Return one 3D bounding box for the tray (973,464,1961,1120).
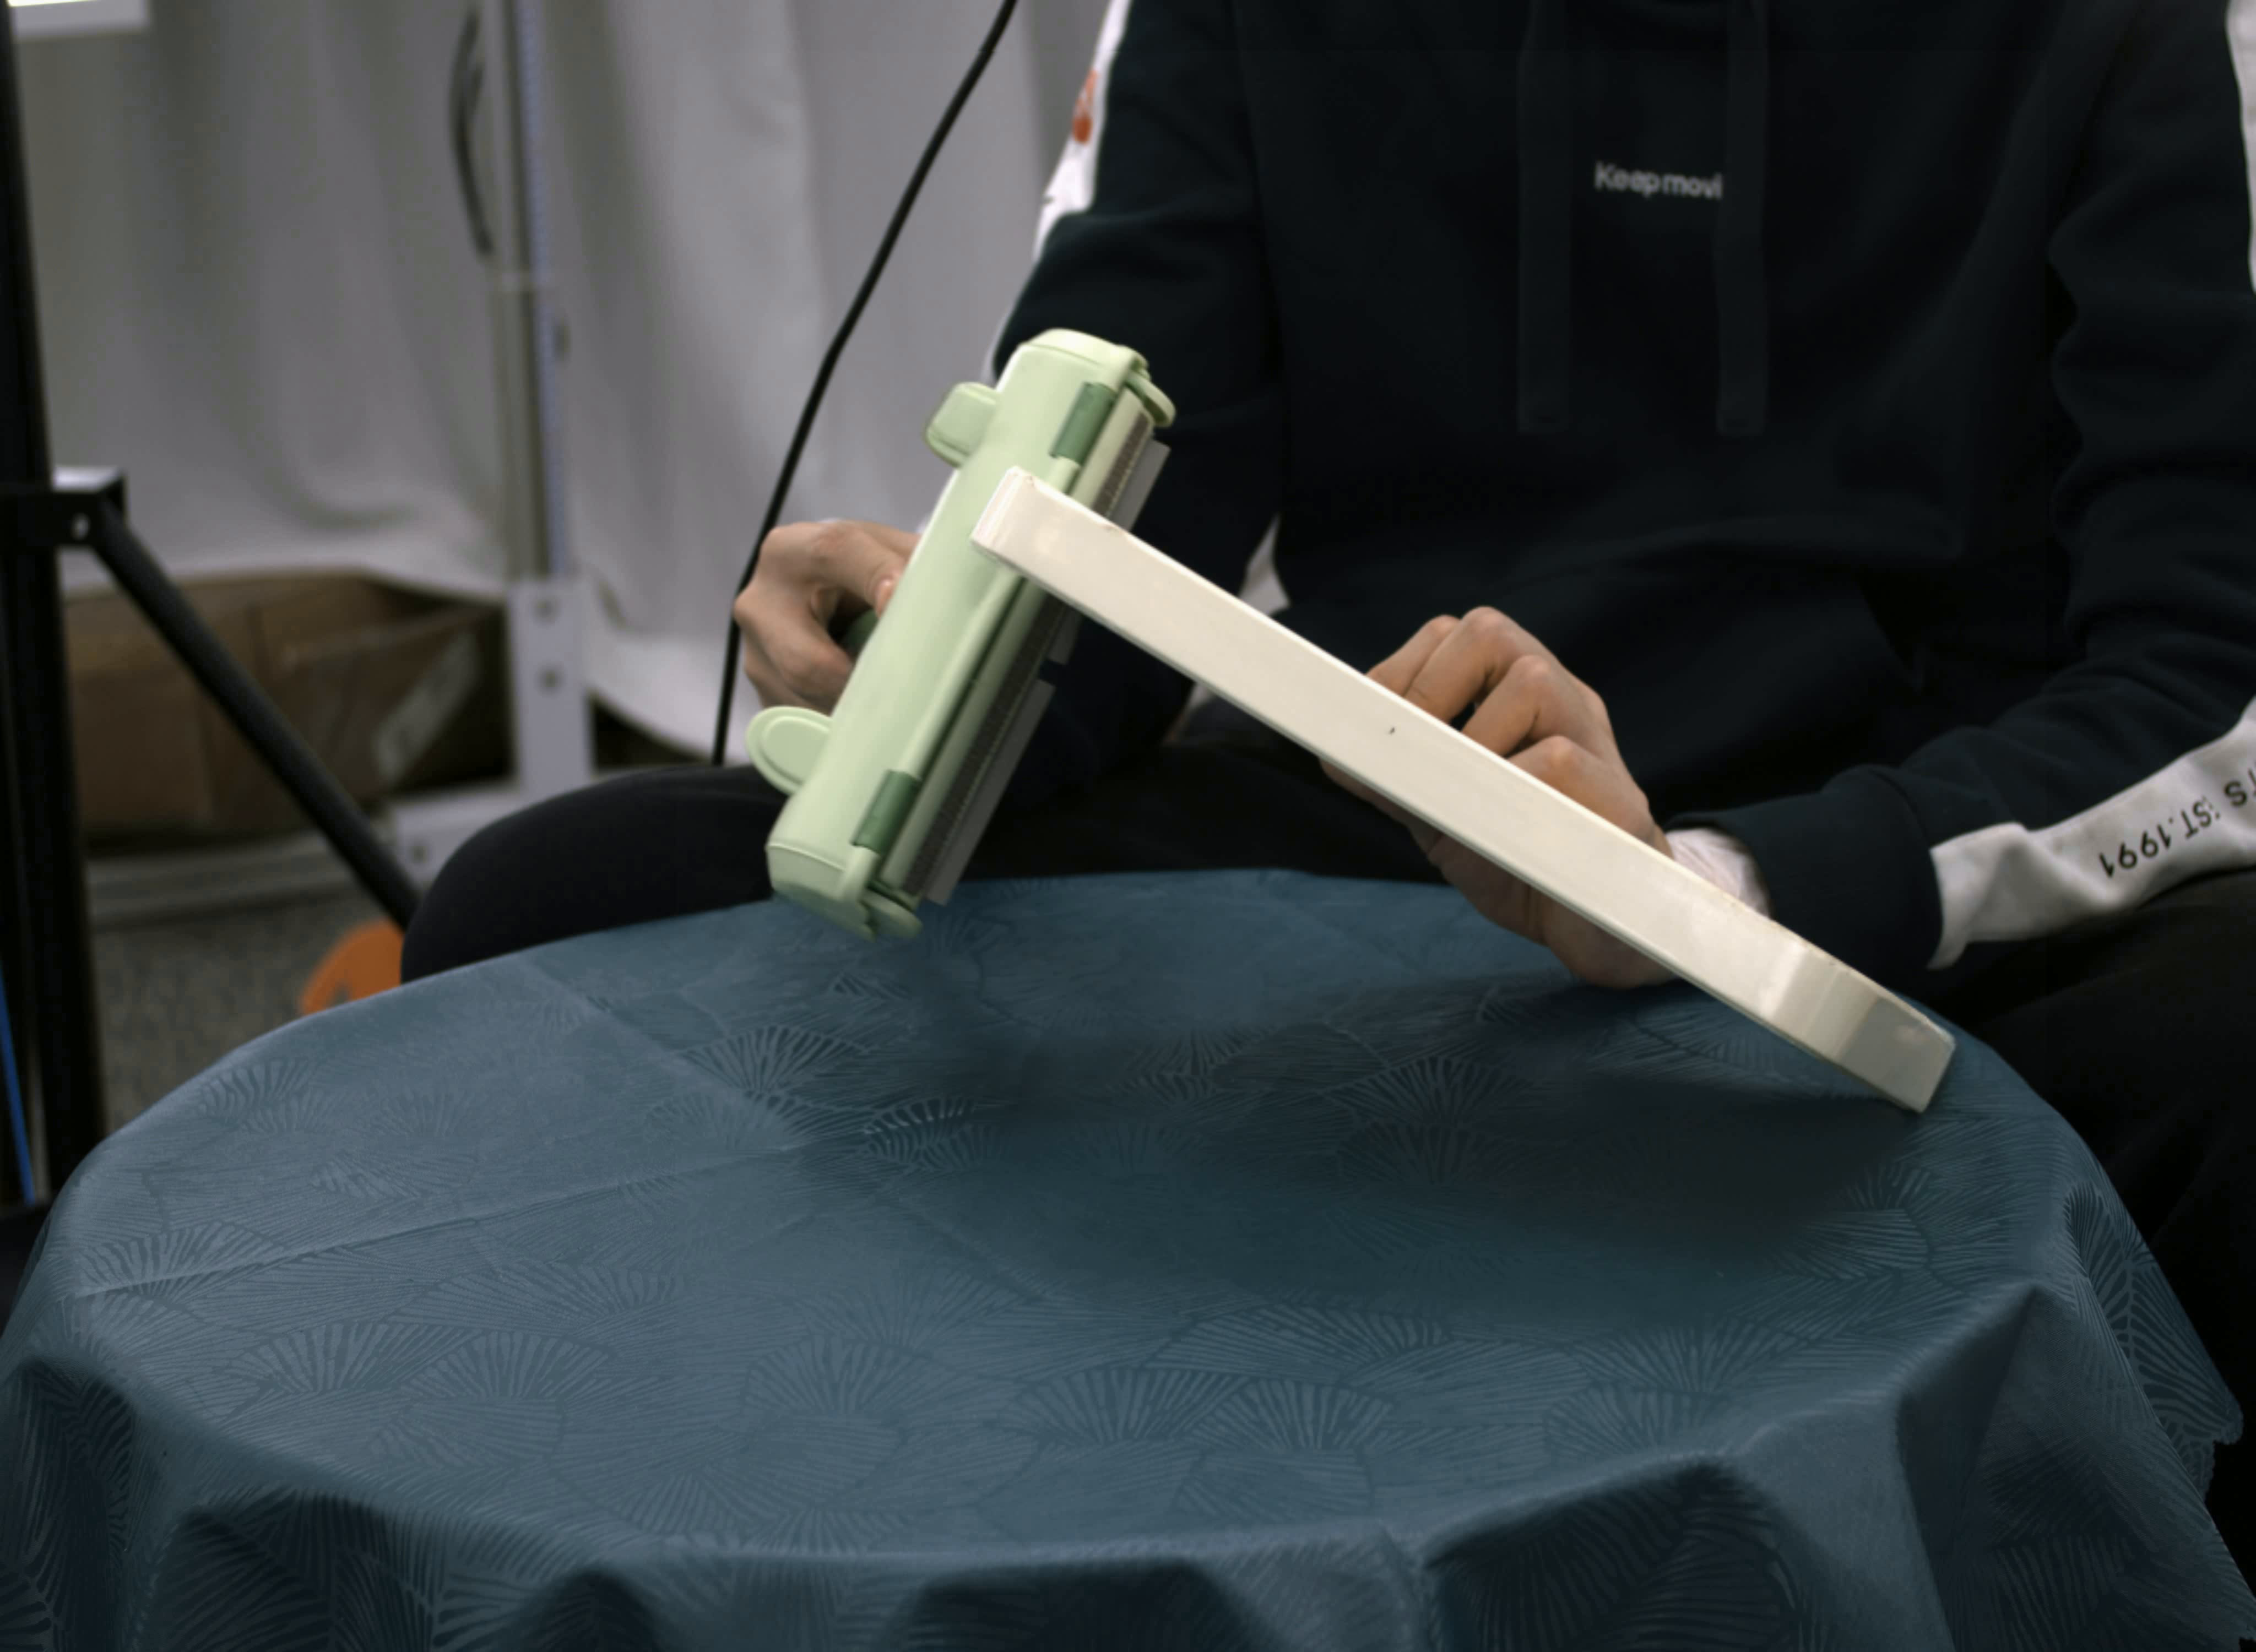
[{"bbox_3d":[0.102,-0.007,1.562,0.304,0.027,0.188,32,1,21],"label":"tray"}]

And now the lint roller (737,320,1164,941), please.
[{"bbox_3d":[-0.078,-0.064,1.691,0.081,0.199,0.186,30,-11,-21],"label":"lint roller"}]
